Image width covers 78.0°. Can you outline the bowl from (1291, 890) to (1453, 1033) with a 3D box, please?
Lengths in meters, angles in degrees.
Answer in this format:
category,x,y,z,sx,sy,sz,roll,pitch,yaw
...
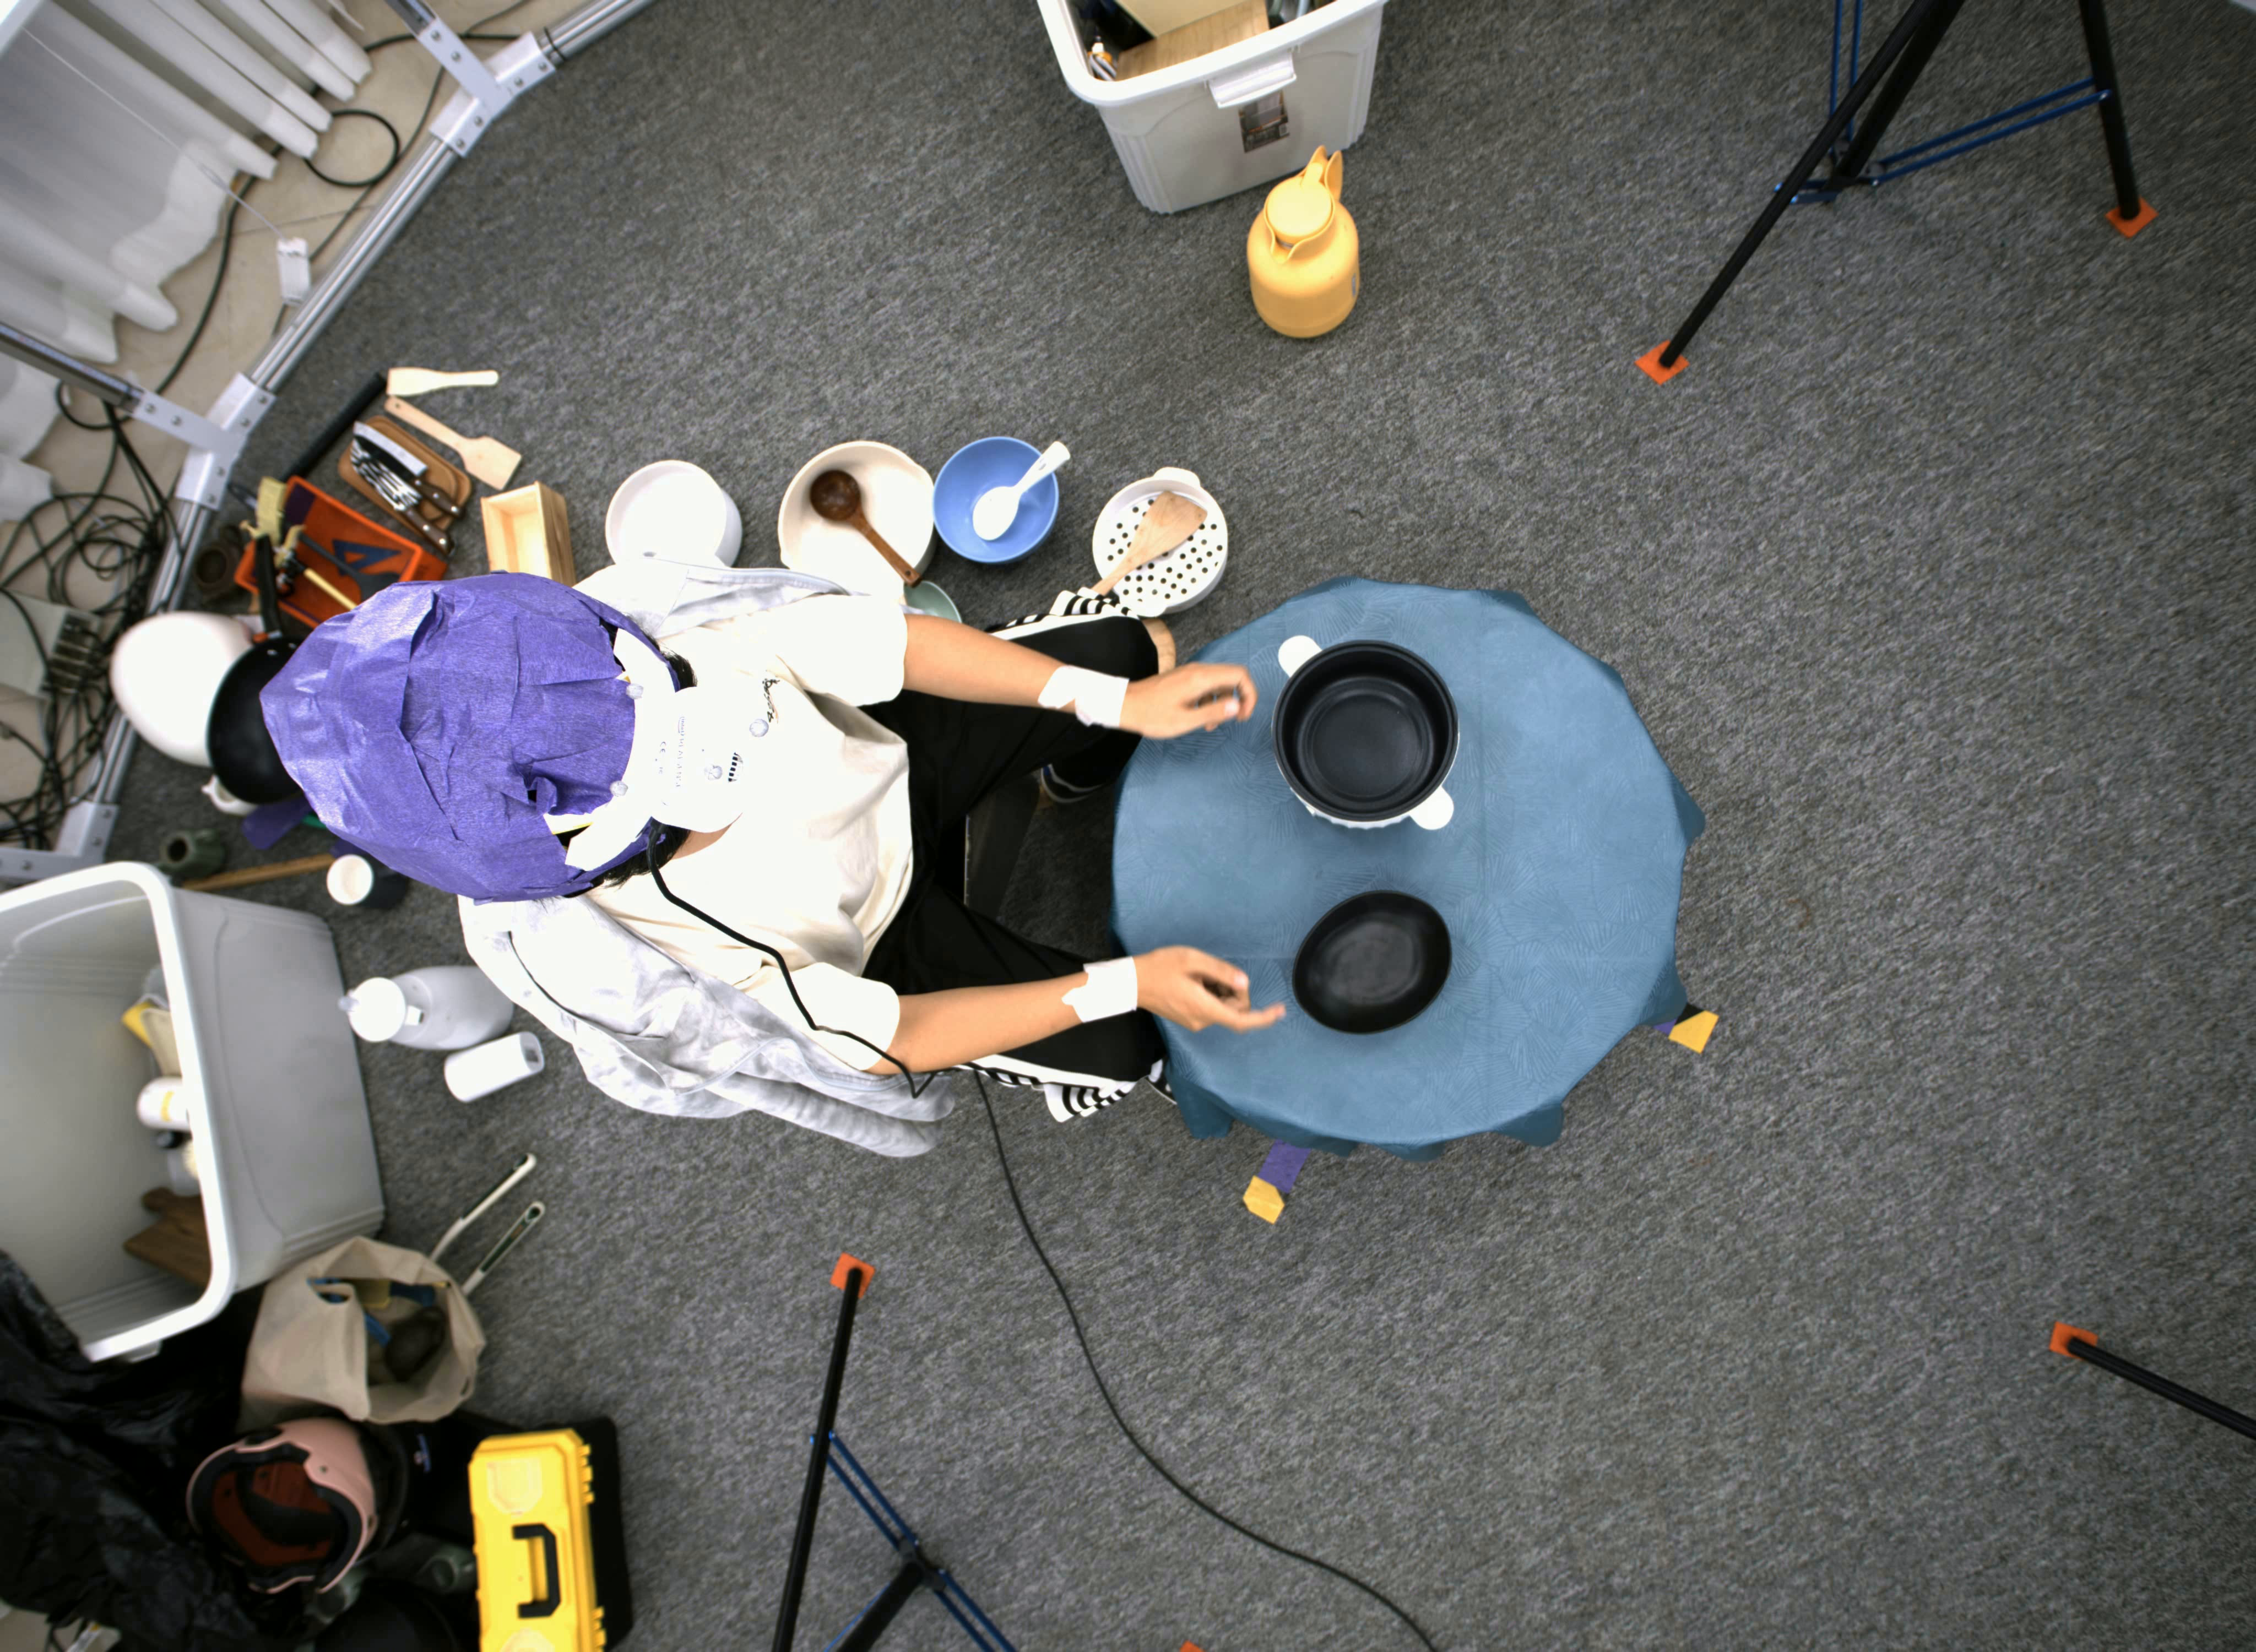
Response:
category,x,y,z,sx,sy,sz,roll,pitch,yaw
bowl,0.252,0.141,1.425,0.171,0.067,0.136,-33,80,8

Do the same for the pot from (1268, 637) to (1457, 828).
category,x,y,z,sx,sy,sz,roll,pitch,yaw
pot,0.243,-0.093,1.402,0.192,0.142,0.239,-42,81,9
